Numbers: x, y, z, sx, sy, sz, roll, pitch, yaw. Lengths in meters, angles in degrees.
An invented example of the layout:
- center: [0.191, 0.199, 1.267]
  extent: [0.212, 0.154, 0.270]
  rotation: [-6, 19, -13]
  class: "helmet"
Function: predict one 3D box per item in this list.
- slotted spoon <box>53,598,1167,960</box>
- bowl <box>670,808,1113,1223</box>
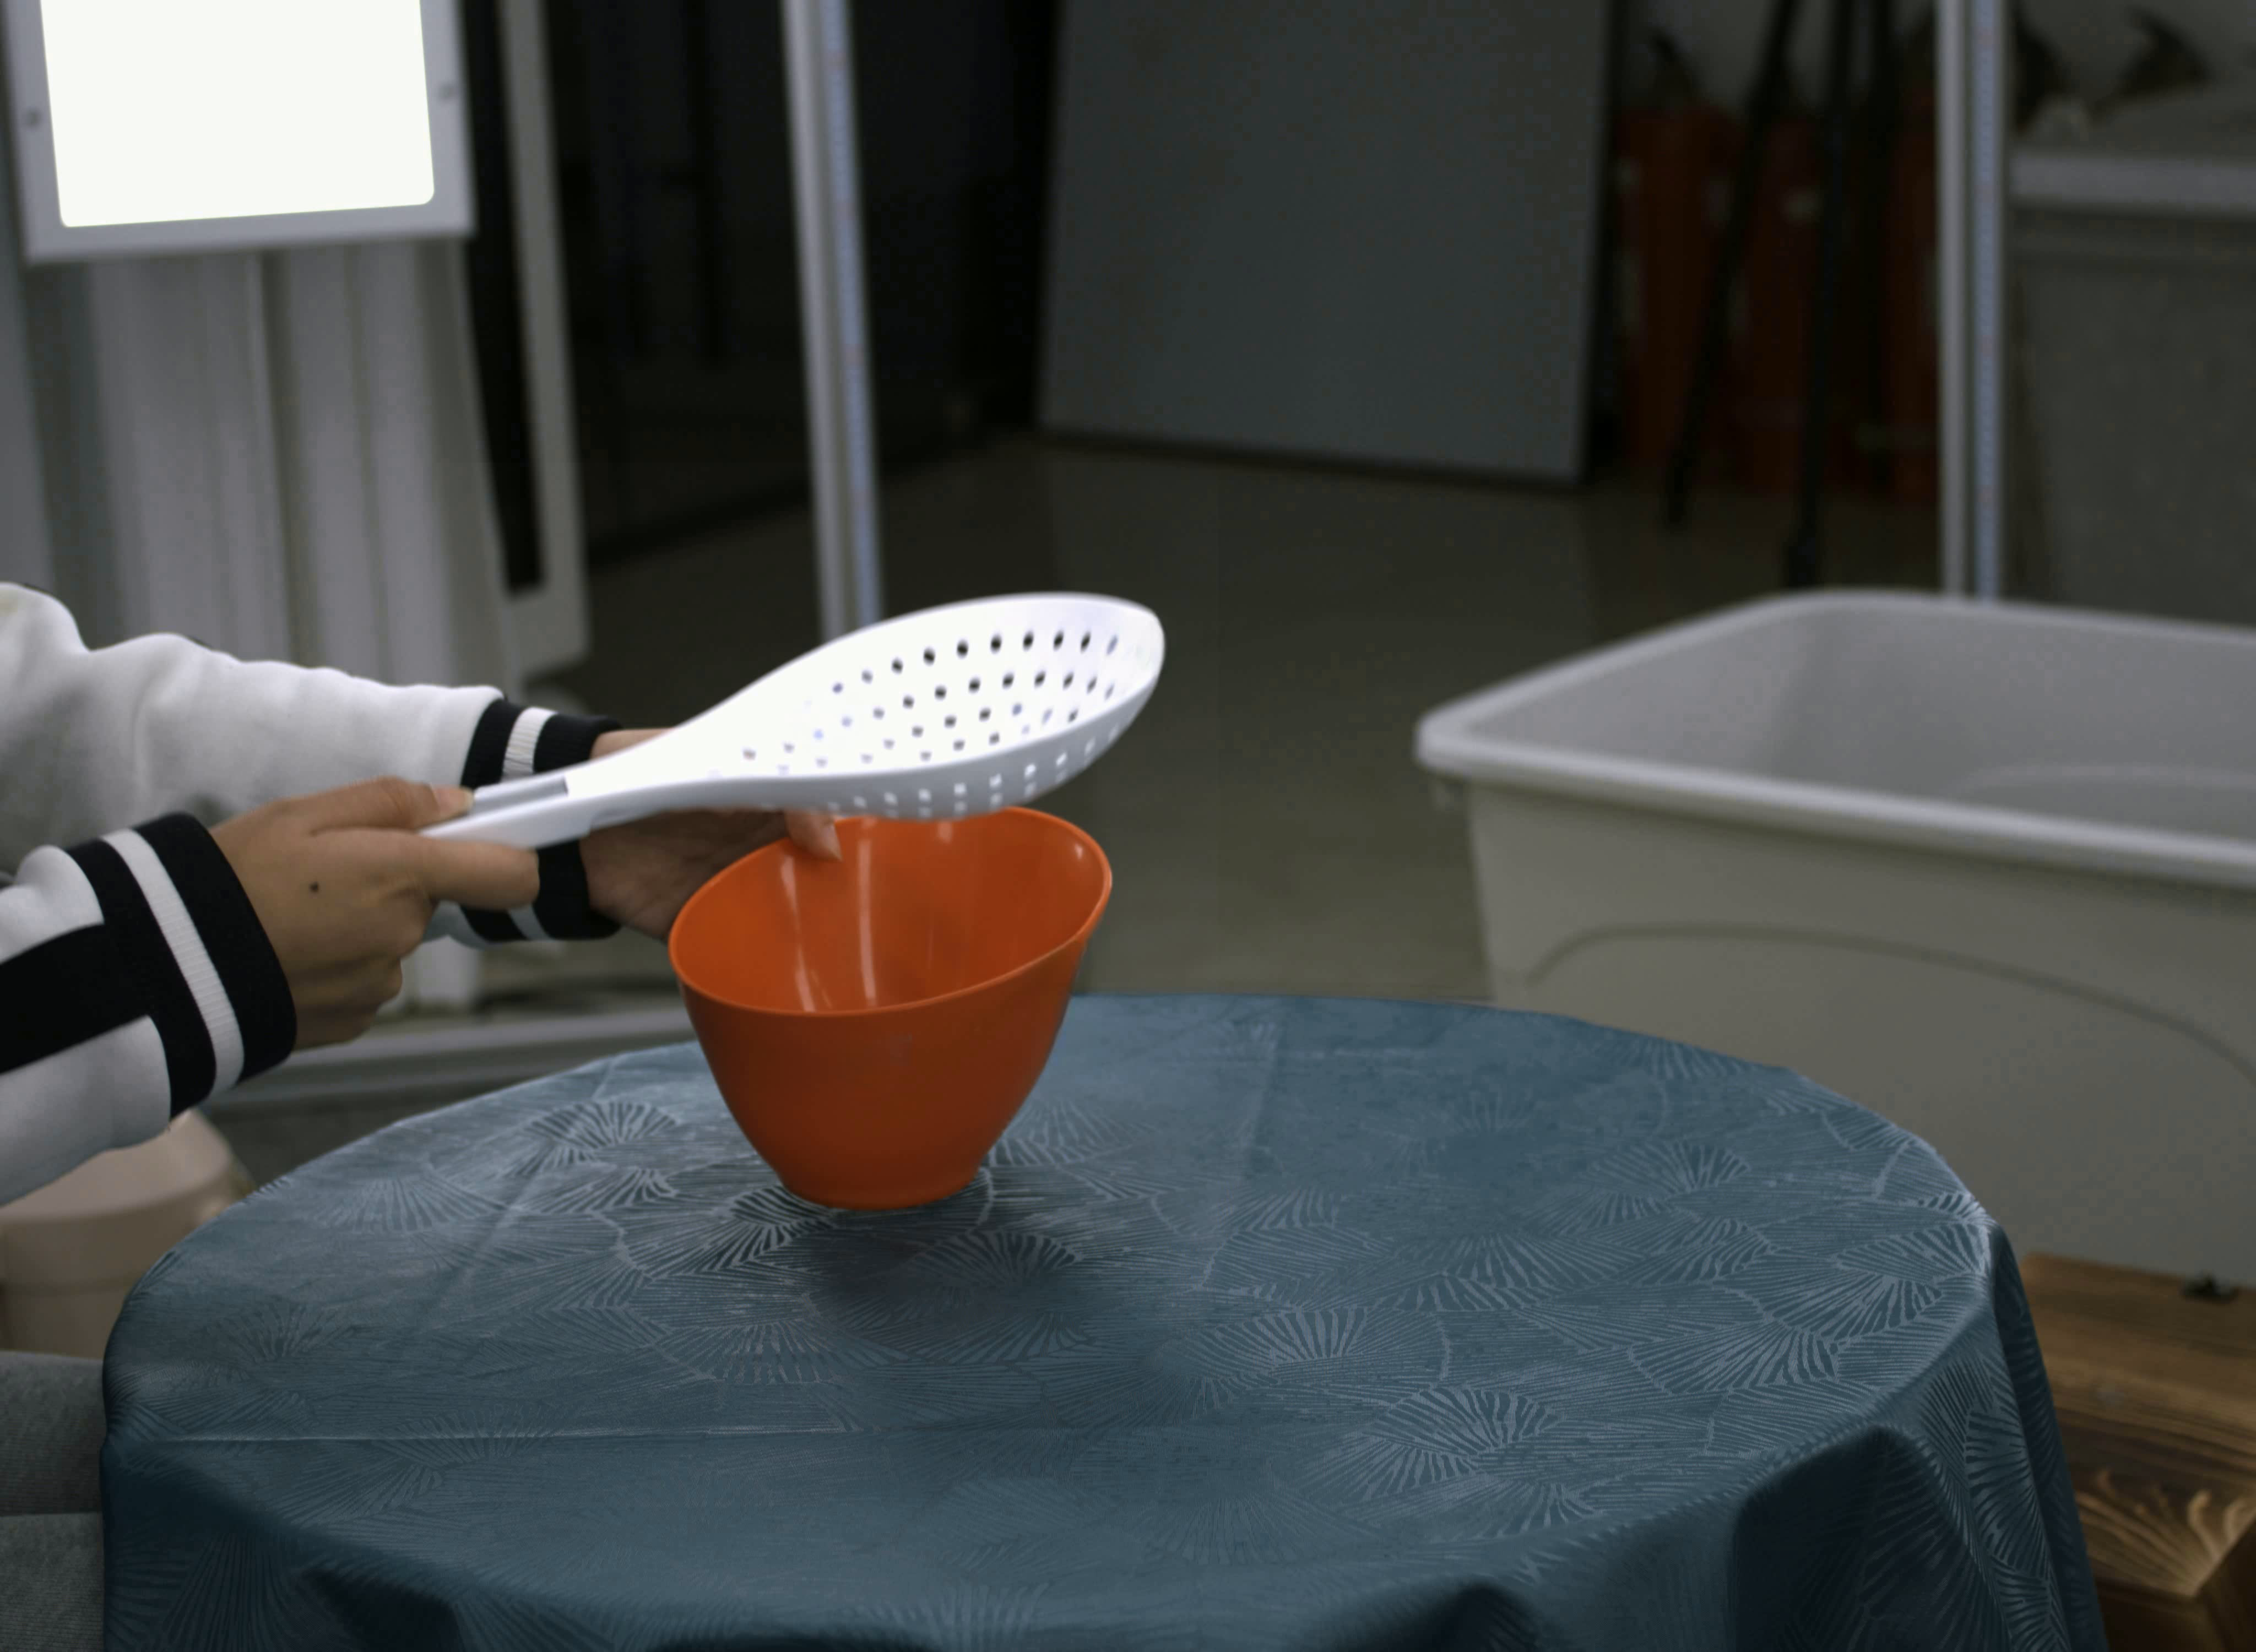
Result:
- center: [-0.155, -0.011, 1.650]
  extent: [0.344, 0.046, 0.137]
  rotation: [-10, 20, -7]
  class: "slotted spoon"
- center: [-0.075, 0.067, 1.777]
  extent: [0.146, 0.106, 0.148]
  rotation: [-2, 19, 0]
  class: "bowl"
